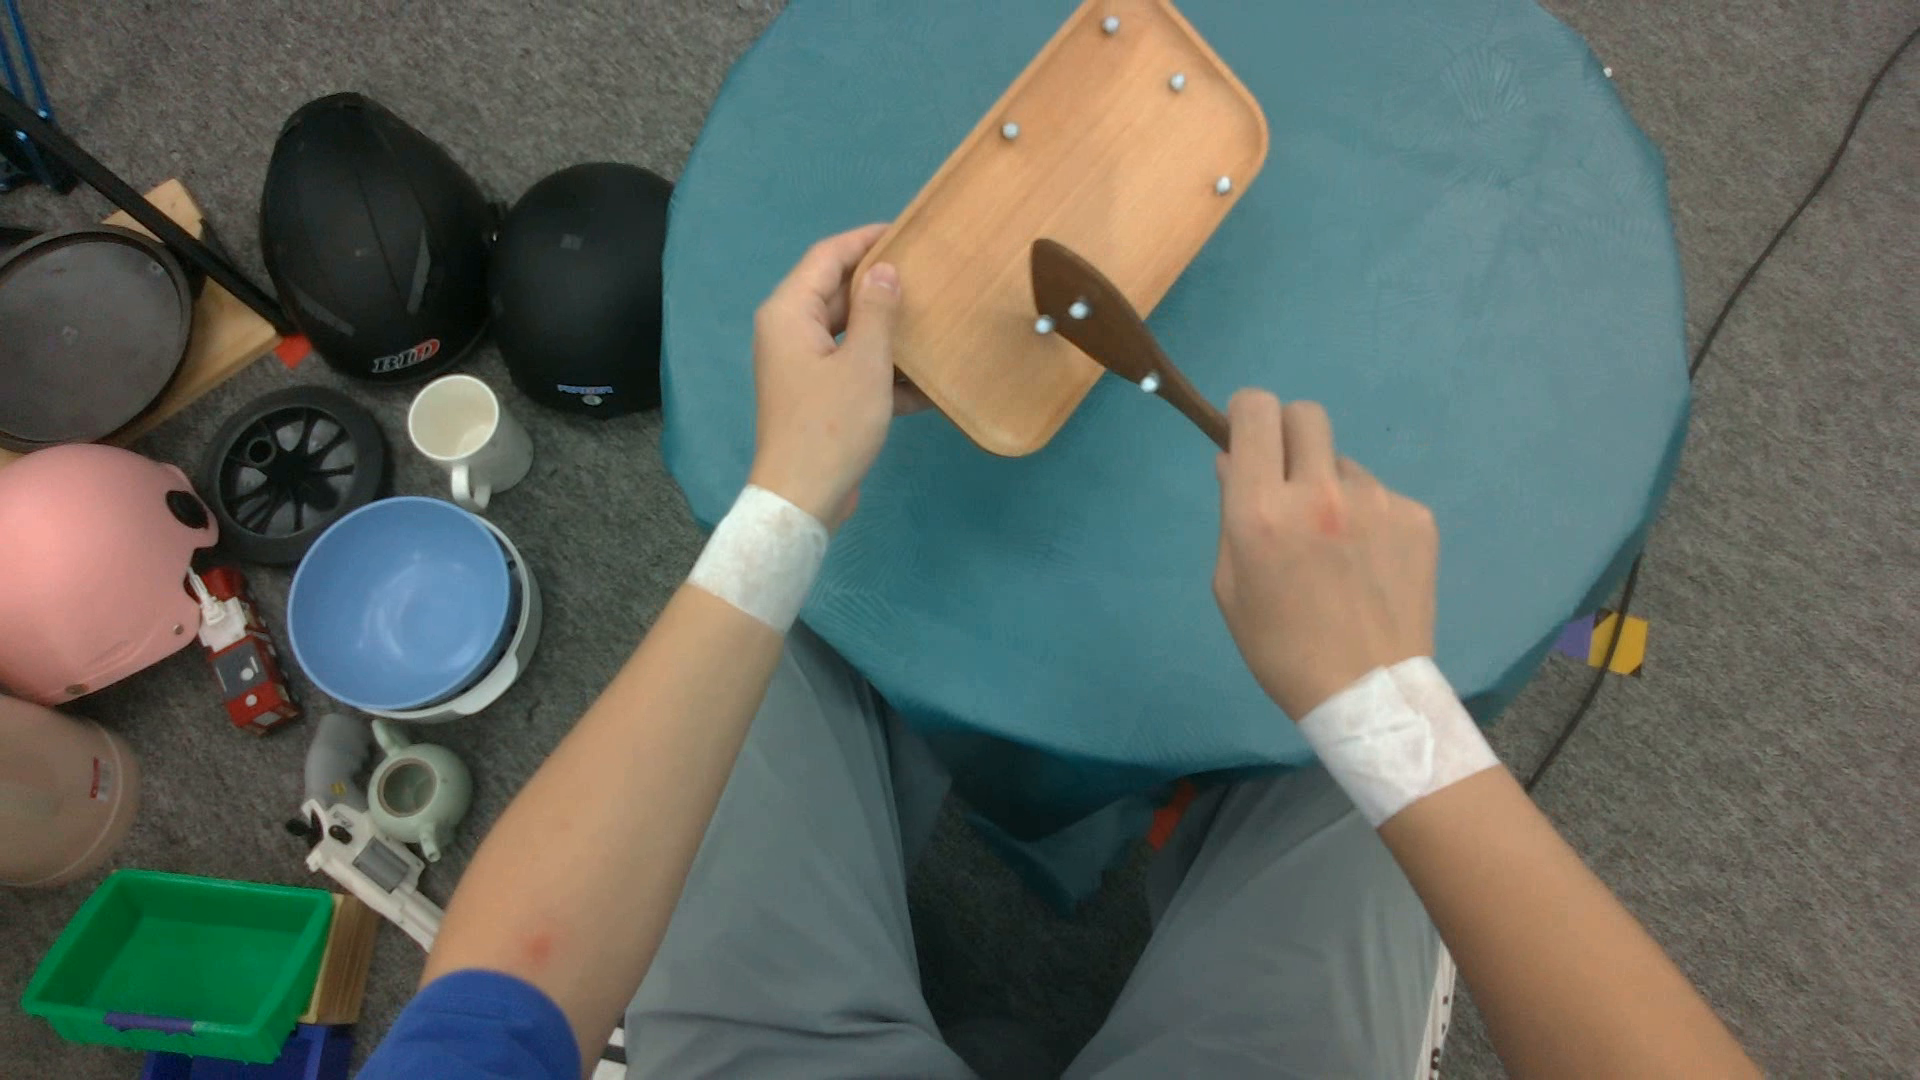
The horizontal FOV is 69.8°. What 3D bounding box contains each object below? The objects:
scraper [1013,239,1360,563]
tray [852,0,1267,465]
[{"bbox_3d":[0.101,-0.062,0.636,0.011,0.075,0.211,-42,71,-12],"label":"scraper"},{"bbox_3d":[0.057,-0.161,0.711,0.130,0.023,0.251,42,73,-10],"label":"tray"}]
